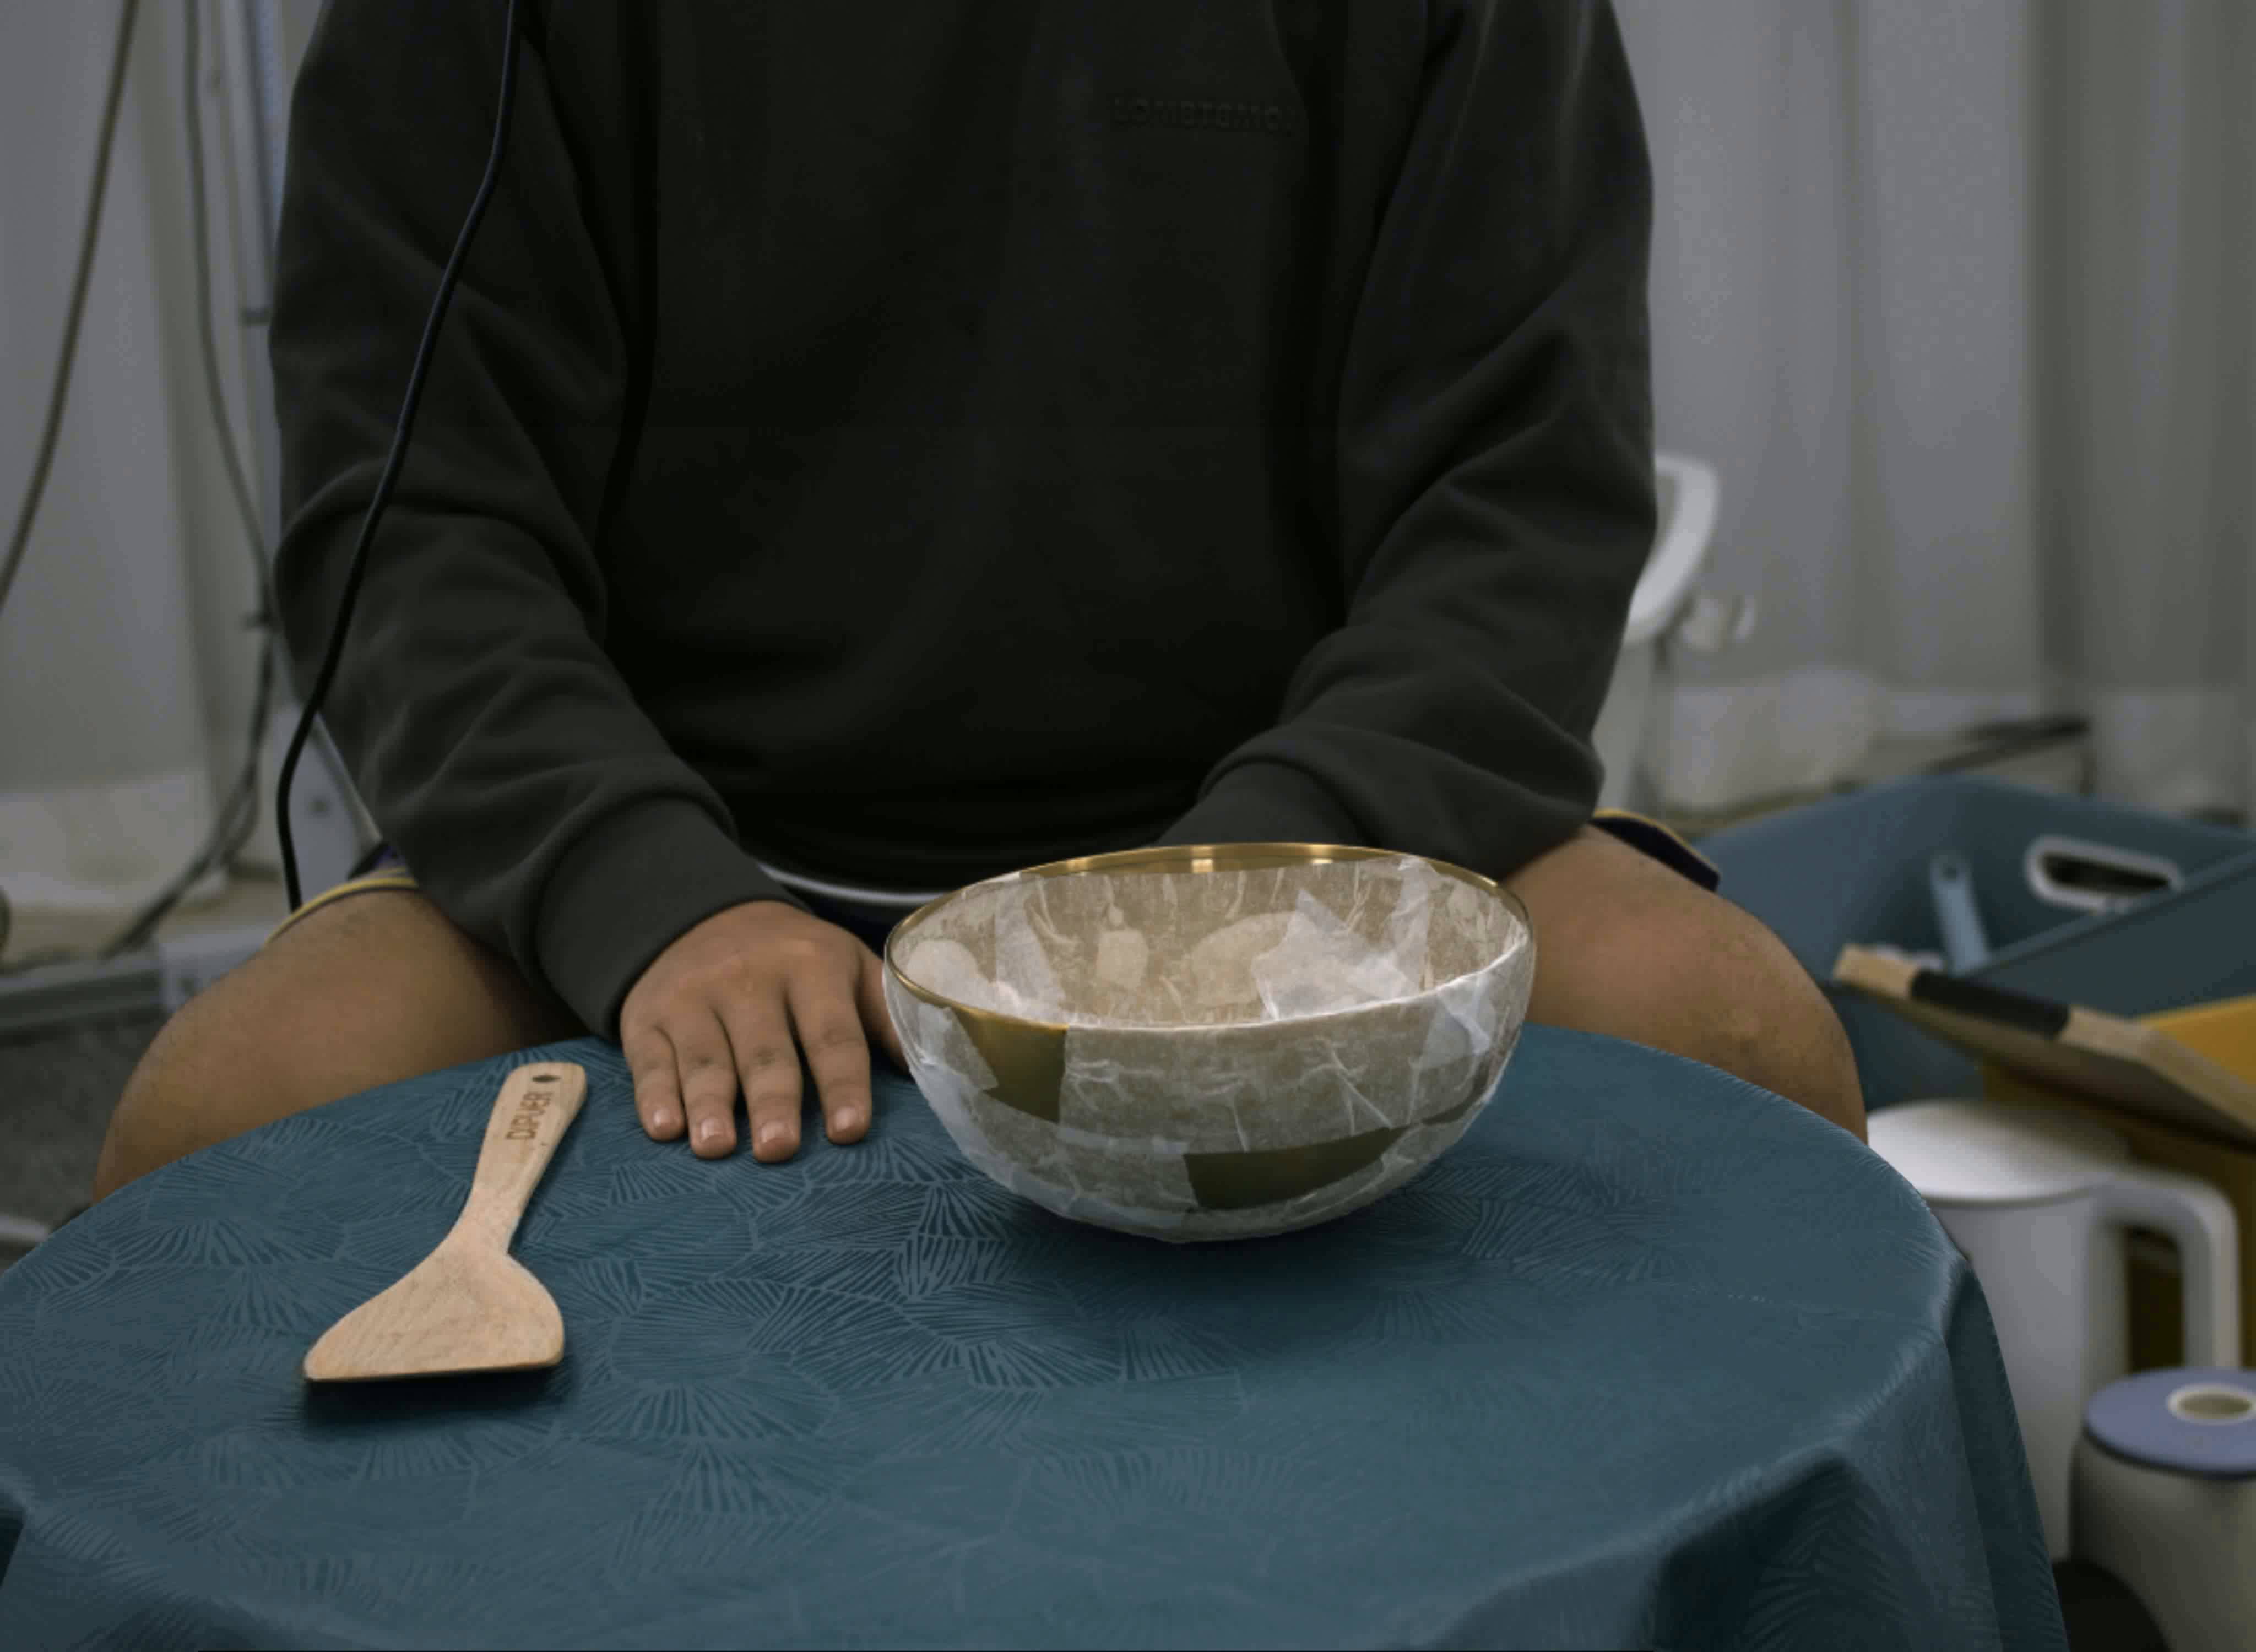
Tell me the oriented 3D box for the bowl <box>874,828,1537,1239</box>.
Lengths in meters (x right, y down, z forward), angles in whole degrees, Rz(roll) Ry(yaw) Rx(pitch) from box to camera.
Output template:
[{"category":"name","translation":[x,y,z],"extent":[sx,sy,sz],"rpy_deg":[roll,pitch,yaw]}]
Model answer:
[{"category":"bowl","translation":[0.027,0.071,1.689],"extent":[0.214,0.094,0.216],"rpy_deg":[-3,16,1]}]

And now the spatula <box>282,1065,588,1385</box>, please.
[{"category":"spatula","translation":[-0.198,0.121,1.701],"extent":[0.080,0.016,0.329],"rpy_deg":[-3,14,2]}]
